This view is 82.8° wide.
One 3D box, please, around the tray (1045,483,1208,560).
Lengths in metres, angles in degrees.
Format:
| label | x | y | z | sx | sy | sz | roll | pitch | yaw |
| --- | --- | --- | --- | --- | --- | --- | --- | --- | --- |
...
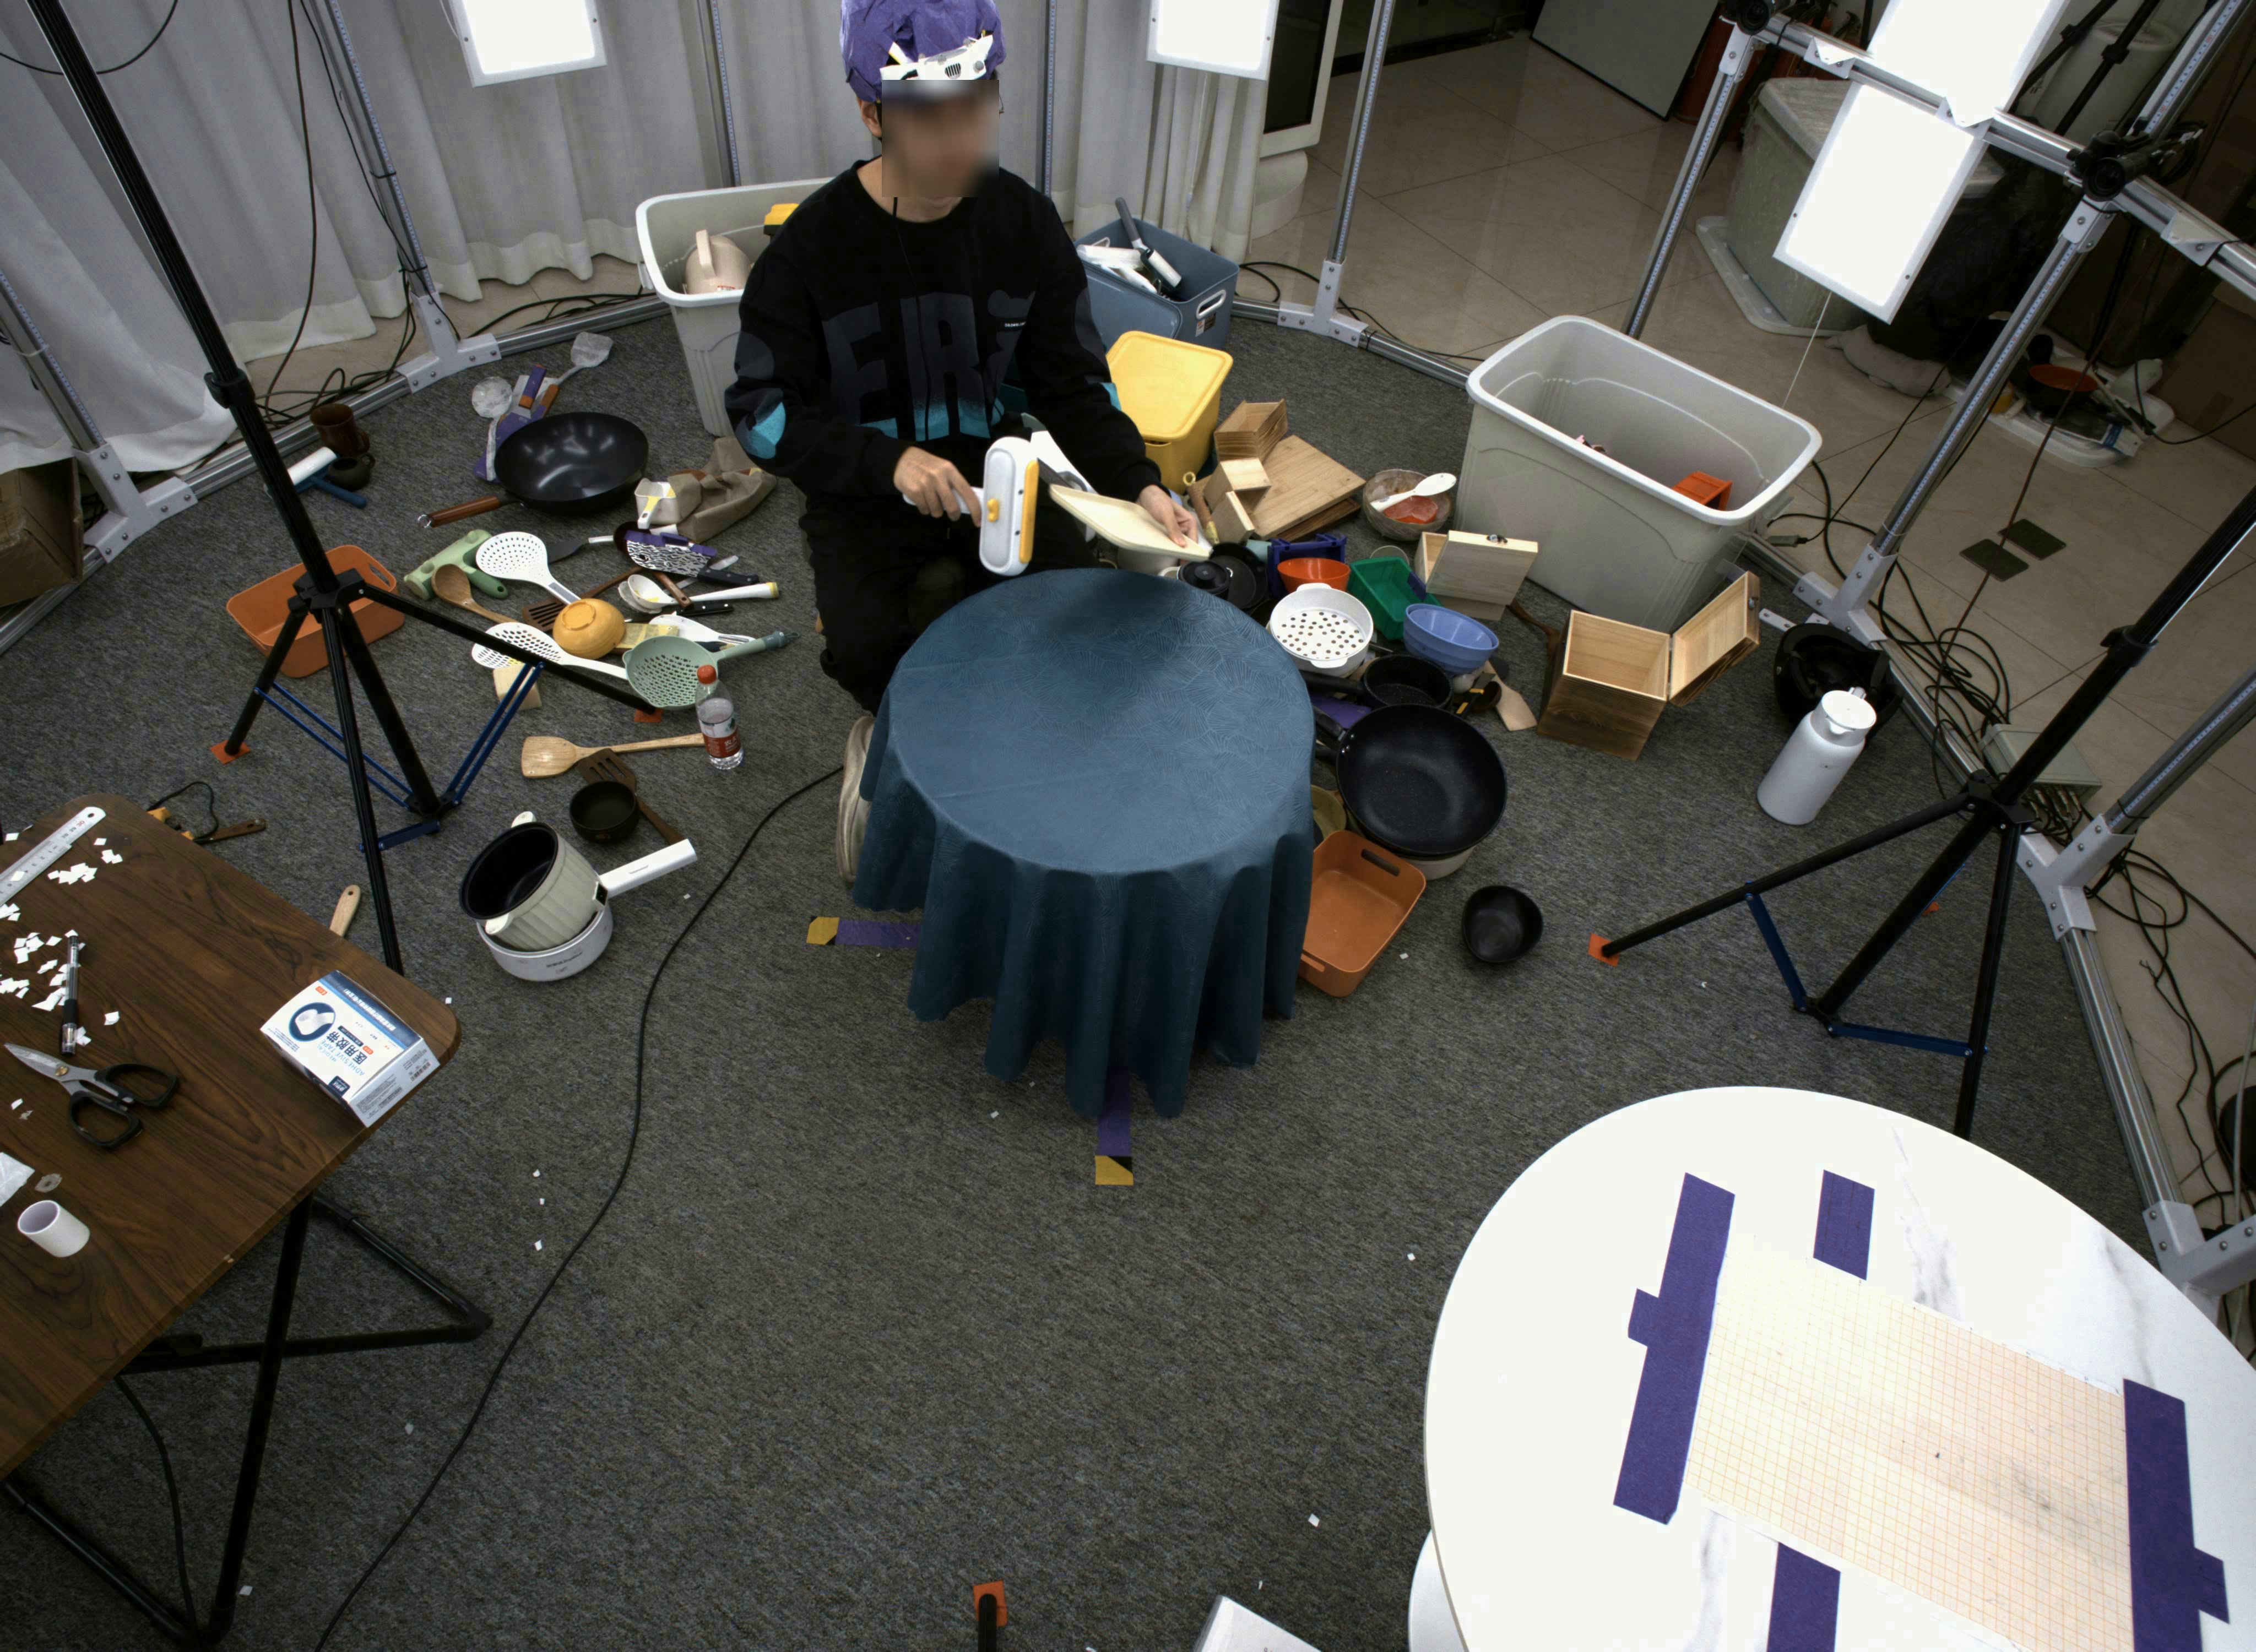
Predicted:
| label | x | y | z | sx | sy | sz | roll | pitch | yaw |
| --- | --- | --- | --- | --- | --- | --- | --- | --- | --- |
| tray | 0.000 | -0.434 | 1.856 | 0.174 | 0.017 | 0.239 | 40 | 25 | 29 |

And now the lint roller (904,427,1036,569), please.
| label | x | y | z | sx | sy | sz | roll | pitch | yaw |
| --- | --- | --- | --- | --- | --- | --- | --- | --- | --- |
| lint roller | -0.220 | -0.463 | 1.815 | 0.194 | 0.189 | 0.075 | 13 | 30 | 22 |
